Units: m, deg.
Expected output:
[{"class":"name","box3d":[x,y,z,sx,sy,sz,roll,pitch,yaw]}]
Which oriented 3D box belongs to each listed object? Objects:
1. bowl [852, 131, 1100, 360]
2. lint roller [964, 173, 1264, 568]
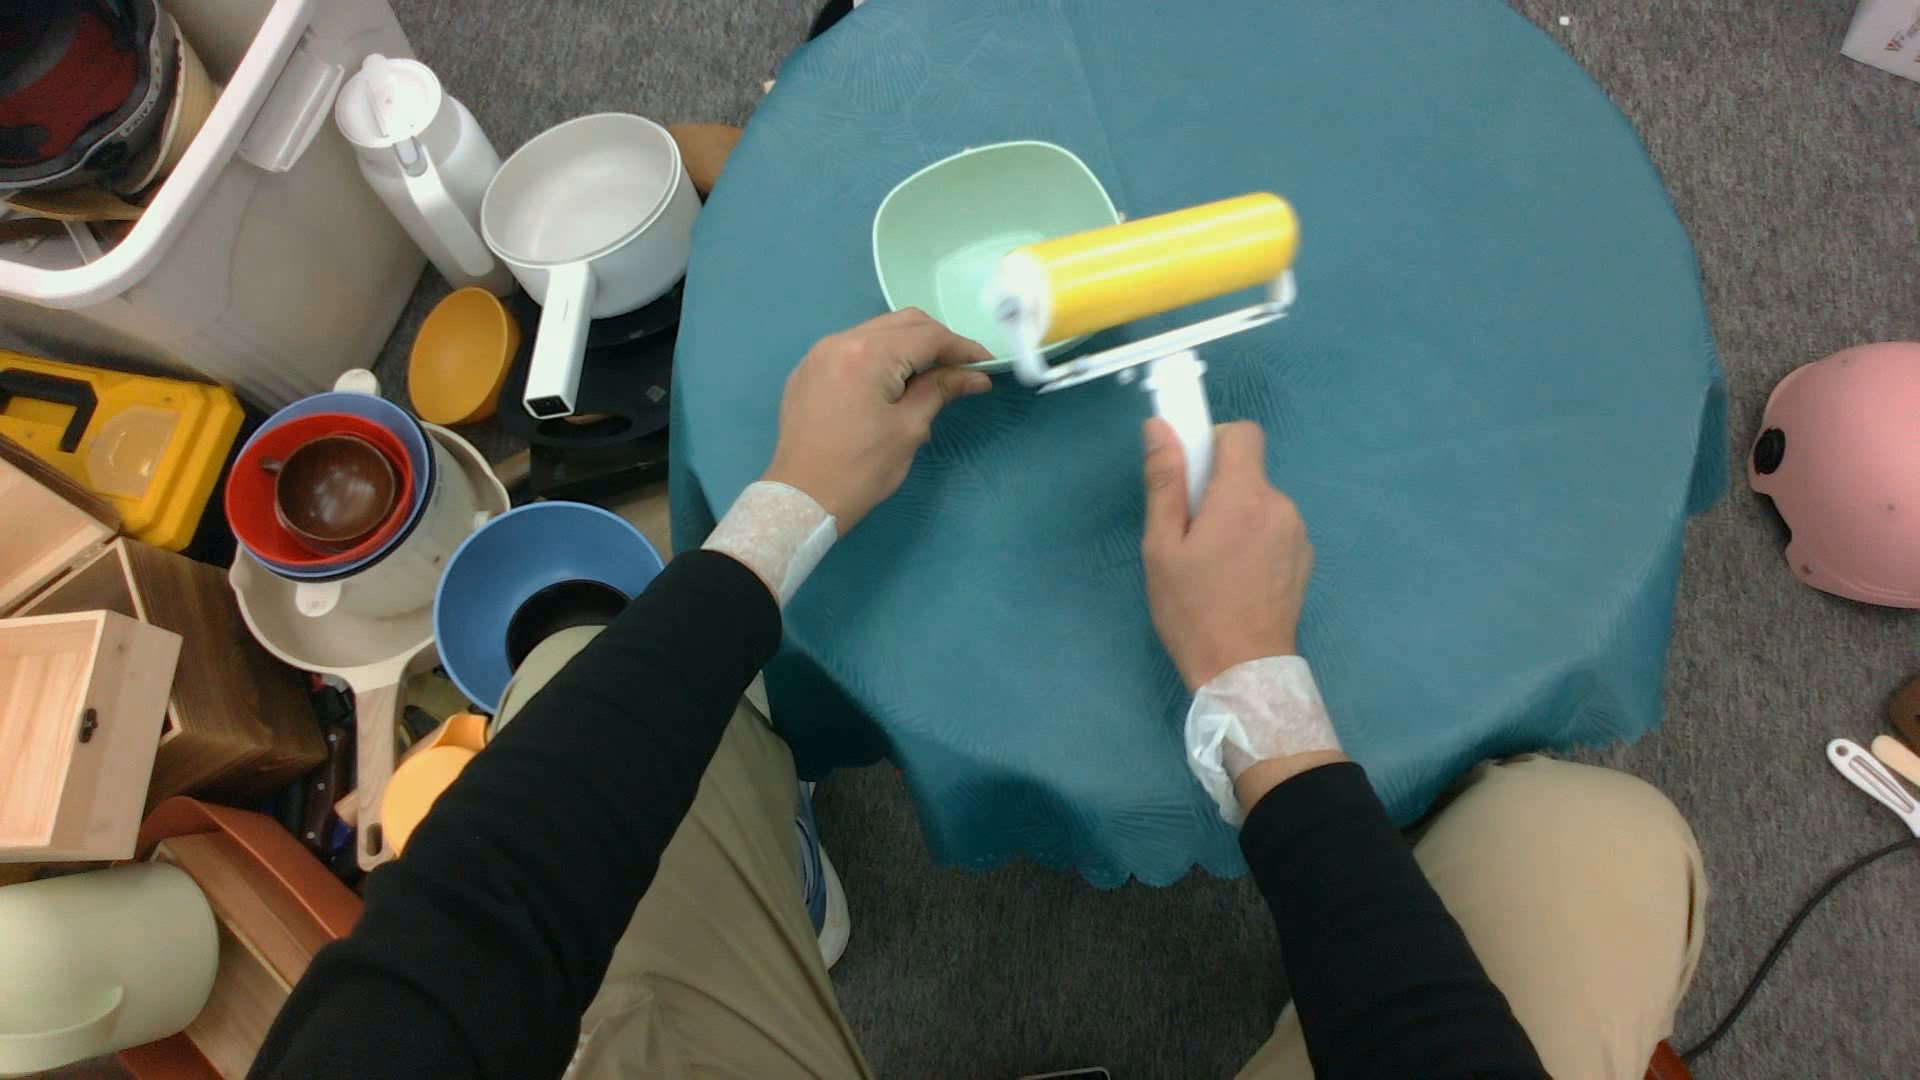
[{"class":"bowl","box3d":[0.012,-0.160,0.794,0.151,0.058,0.152,-1,68,3]},{"class":"lint roller","box3d":[0.109,-0.078,0.692,0.175,0.051,0.192,-24,87,-31]}]
